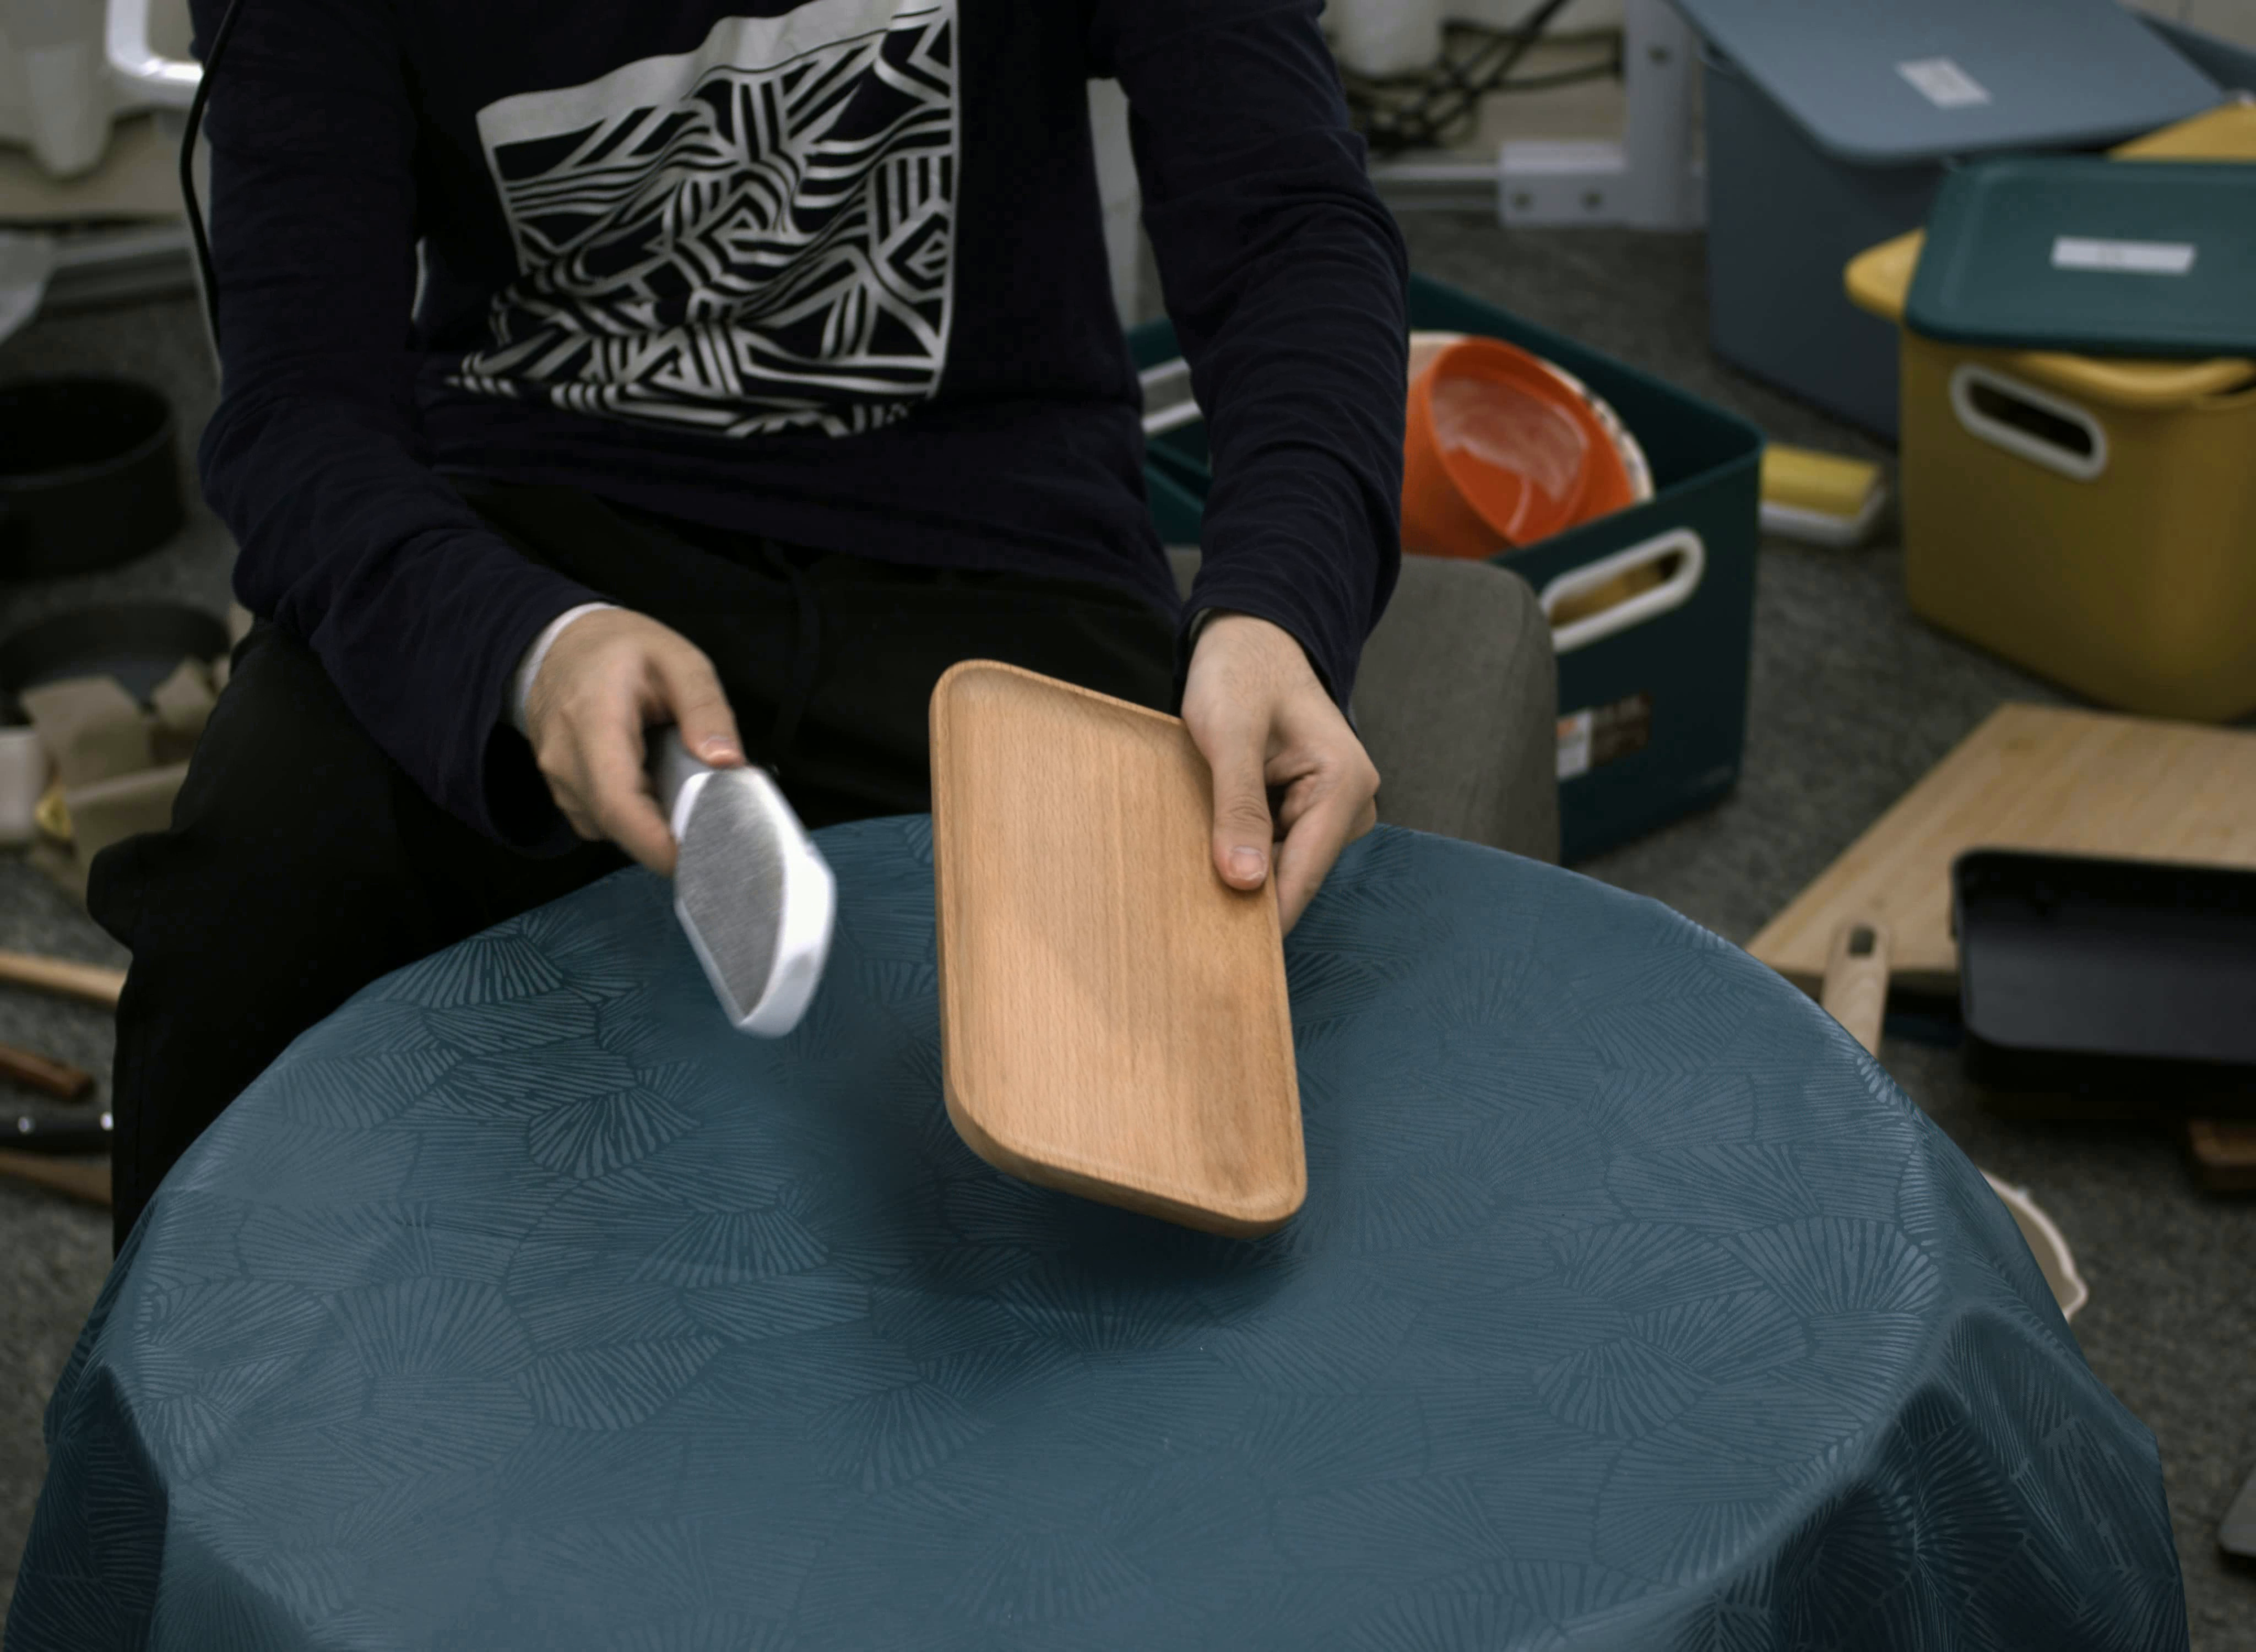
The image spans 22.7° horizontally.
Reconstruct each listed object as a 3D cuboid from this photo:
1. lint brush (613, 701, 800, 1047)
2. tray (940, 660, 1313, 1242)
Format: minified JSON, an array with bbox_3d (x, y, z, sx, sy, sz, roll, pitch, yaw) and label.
[{"bbox_3d":[-0.144,0.006,1.882,0.021,0.060,0.310,10,13,-15],"label":"lint brush"},{"bbox_3d":[-0.003,0.039,1.884,0.130,0.022,0.255,20,36,-16],"label":"tray"}]
